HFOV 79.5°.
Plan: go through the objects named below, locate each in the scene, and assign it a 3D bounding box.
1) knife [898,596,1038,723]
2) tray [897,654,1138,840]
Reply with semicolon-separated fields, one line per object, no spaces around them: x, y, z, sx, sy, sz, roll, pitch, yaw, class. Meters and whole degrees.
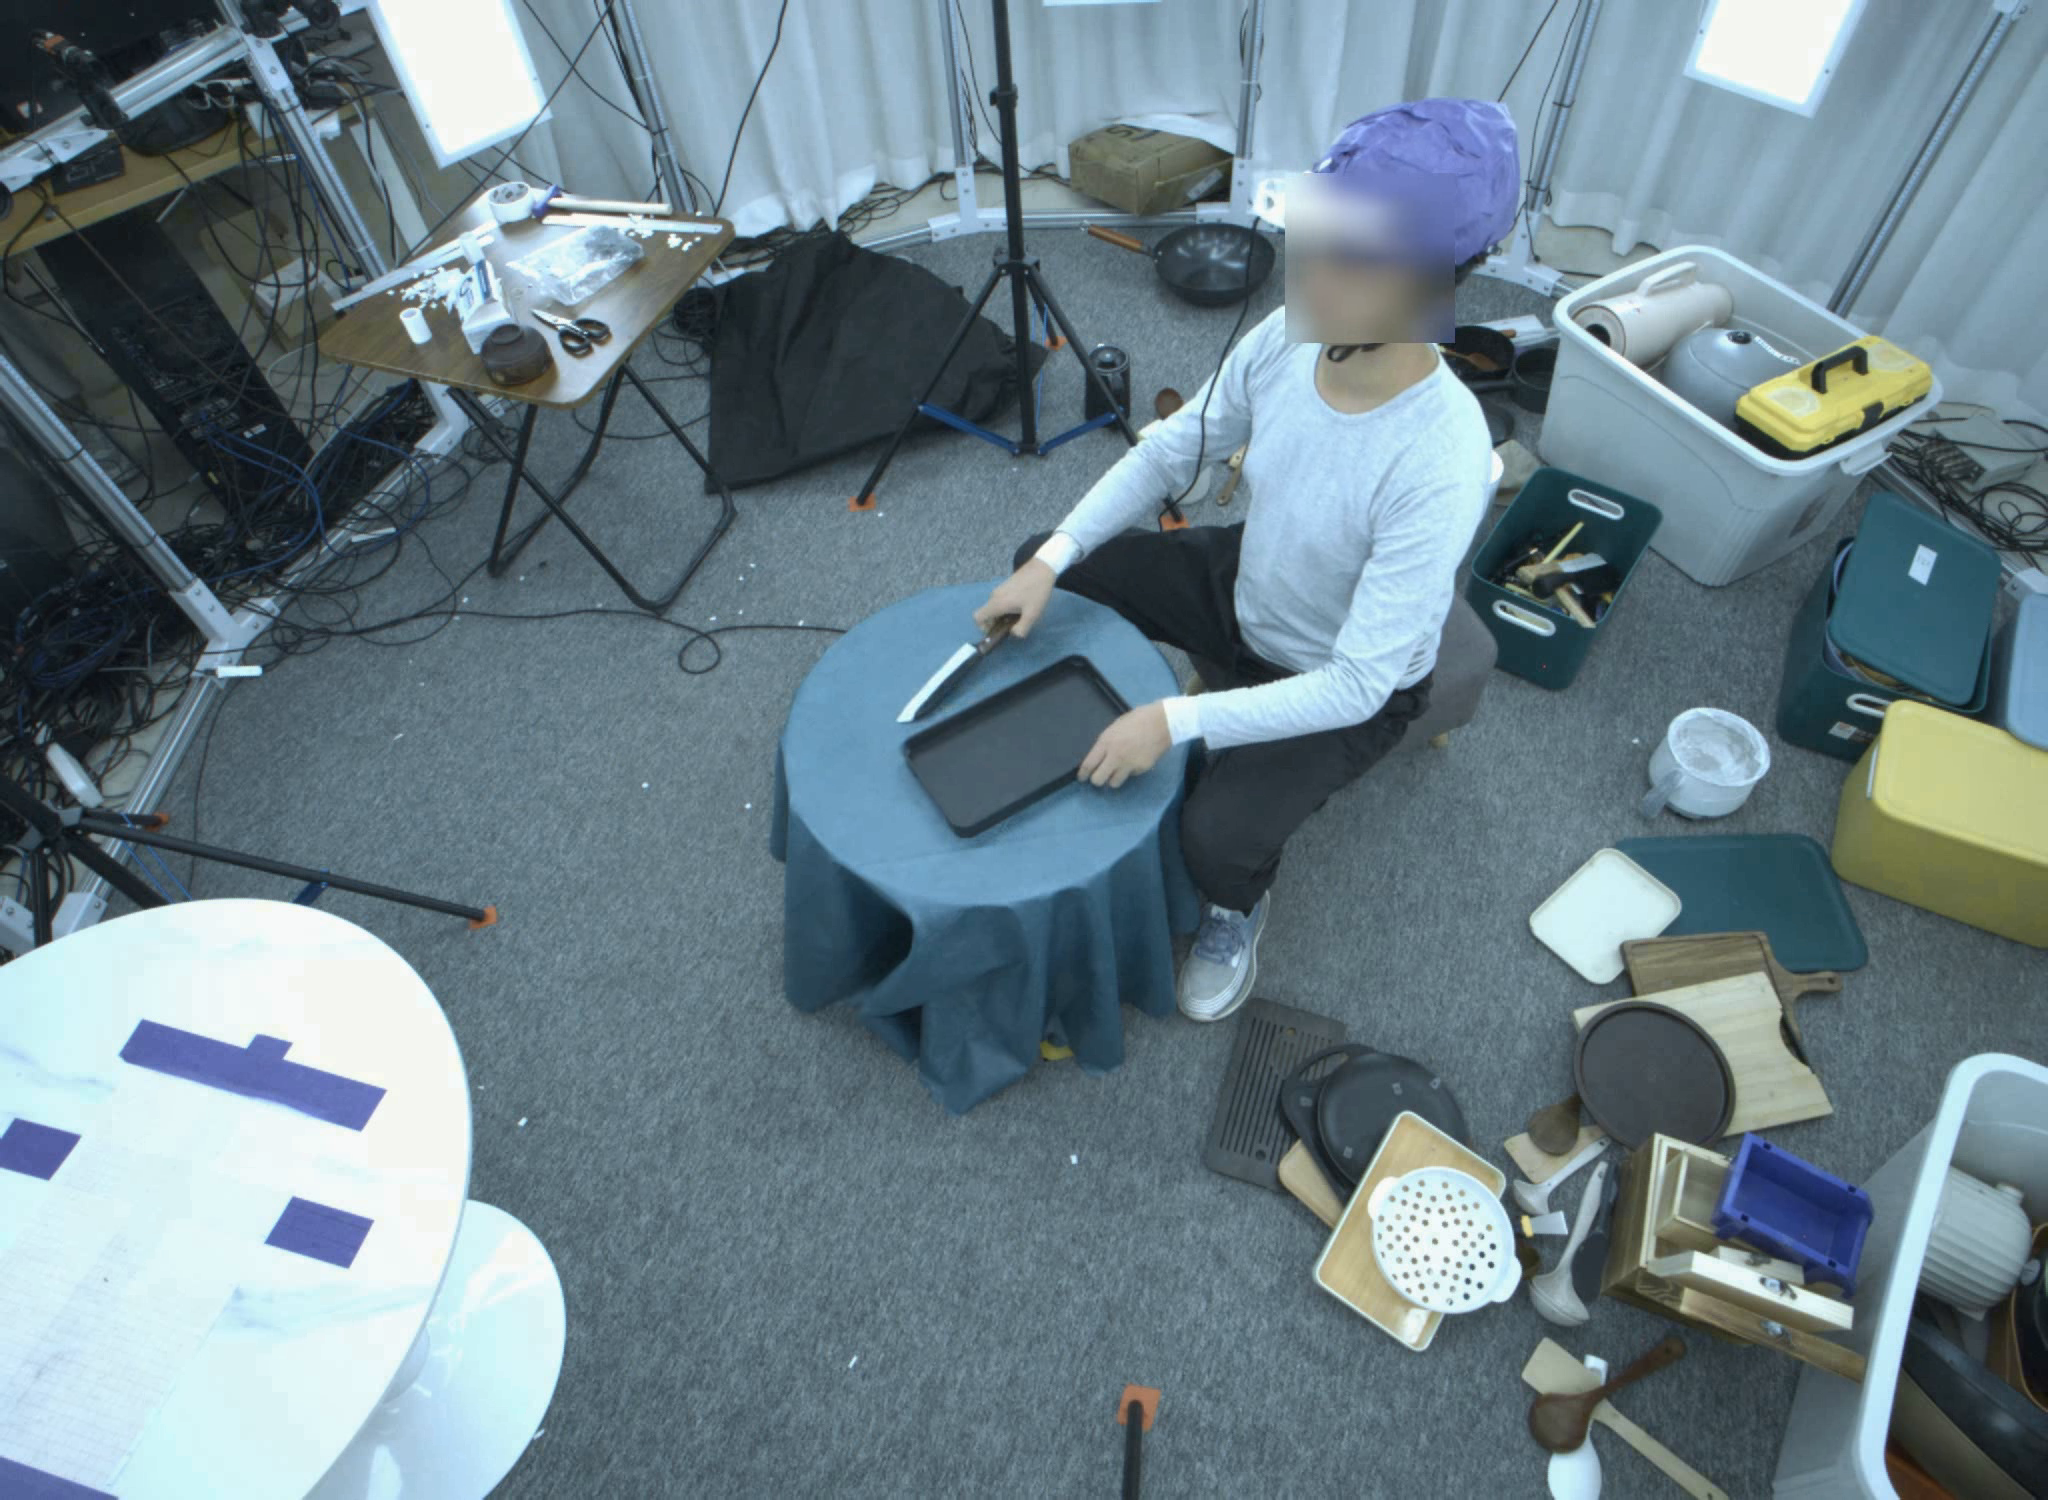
-0.085;-0.137;1.865;0.290;0.020;0.049;-44;56;-15;knife
-0.008;-0.009;1.780;0.320;0.037;0.181;-29;59;-19;tray
